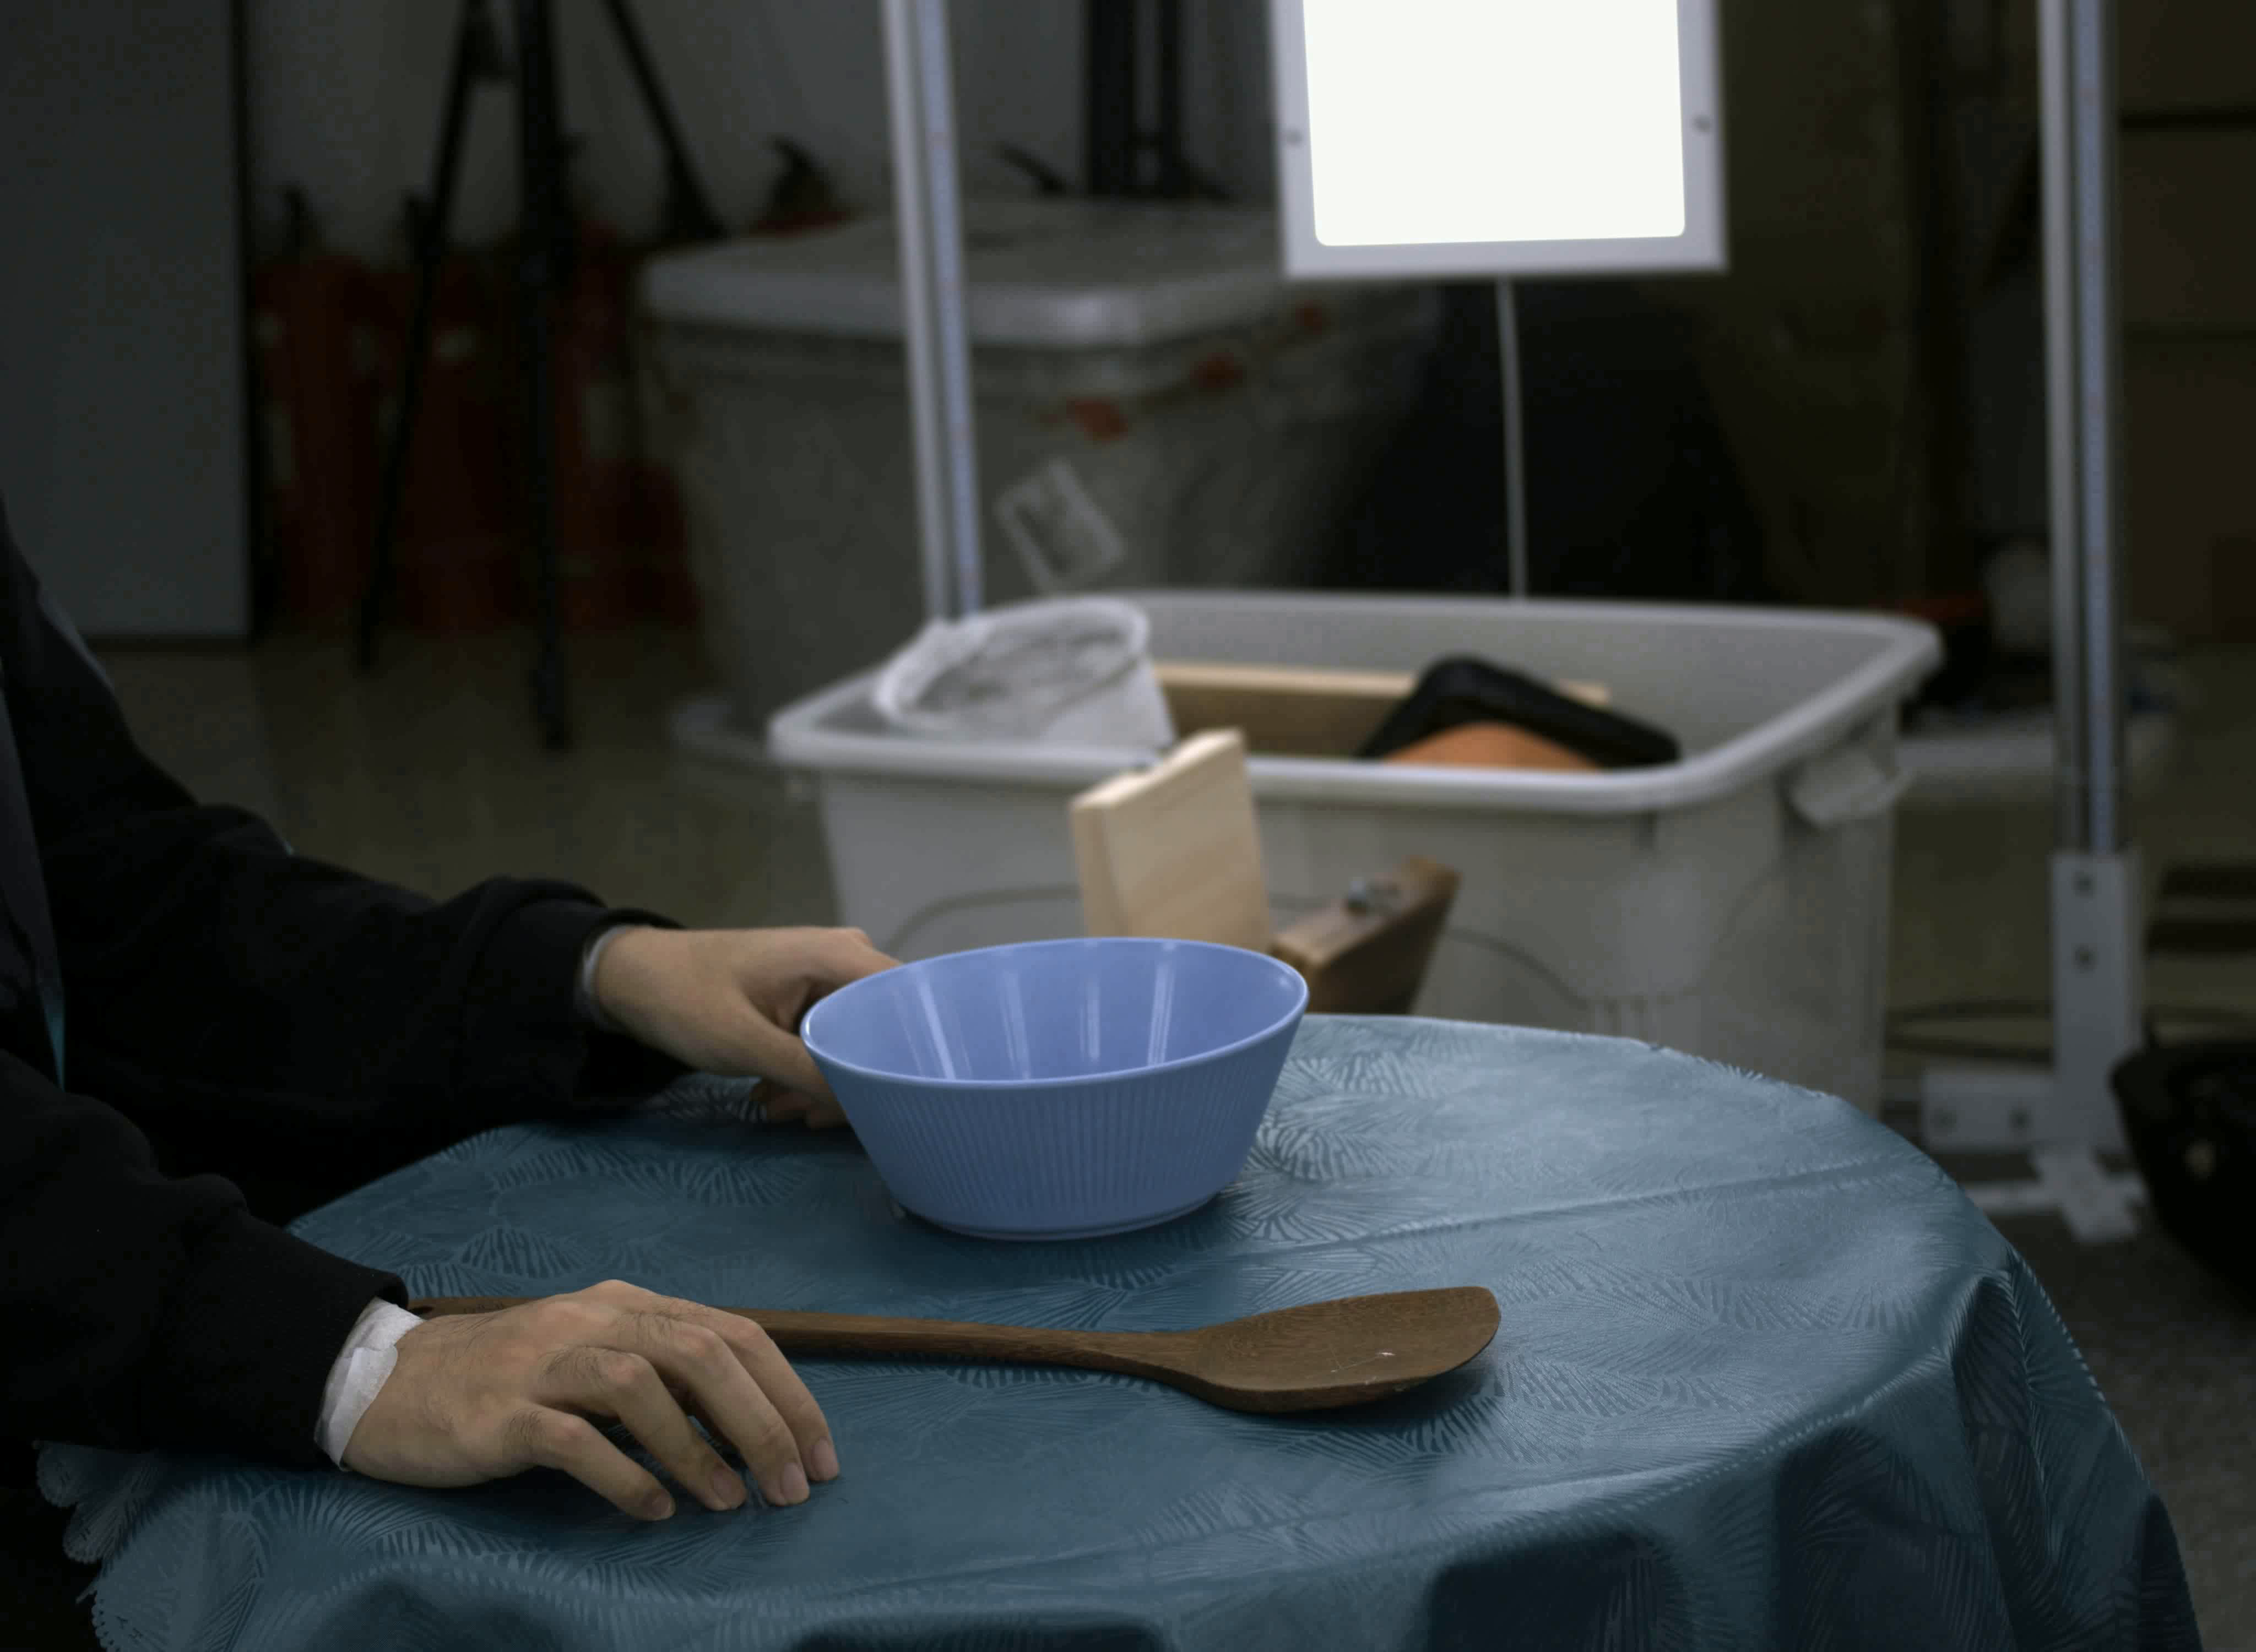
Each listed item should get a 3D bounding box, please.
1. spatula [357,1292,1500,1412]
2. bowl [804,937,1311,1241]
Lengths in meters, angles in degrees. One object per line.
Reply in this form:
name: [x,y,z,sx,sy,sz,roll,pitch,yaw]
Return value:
spatula: [-0.071,0.162,1.750,0.391,0.016,0.094,0,14,21]
bowl: [-0.021,0.093,1.895,0.175,0.070,0.176,-6,13,0]
